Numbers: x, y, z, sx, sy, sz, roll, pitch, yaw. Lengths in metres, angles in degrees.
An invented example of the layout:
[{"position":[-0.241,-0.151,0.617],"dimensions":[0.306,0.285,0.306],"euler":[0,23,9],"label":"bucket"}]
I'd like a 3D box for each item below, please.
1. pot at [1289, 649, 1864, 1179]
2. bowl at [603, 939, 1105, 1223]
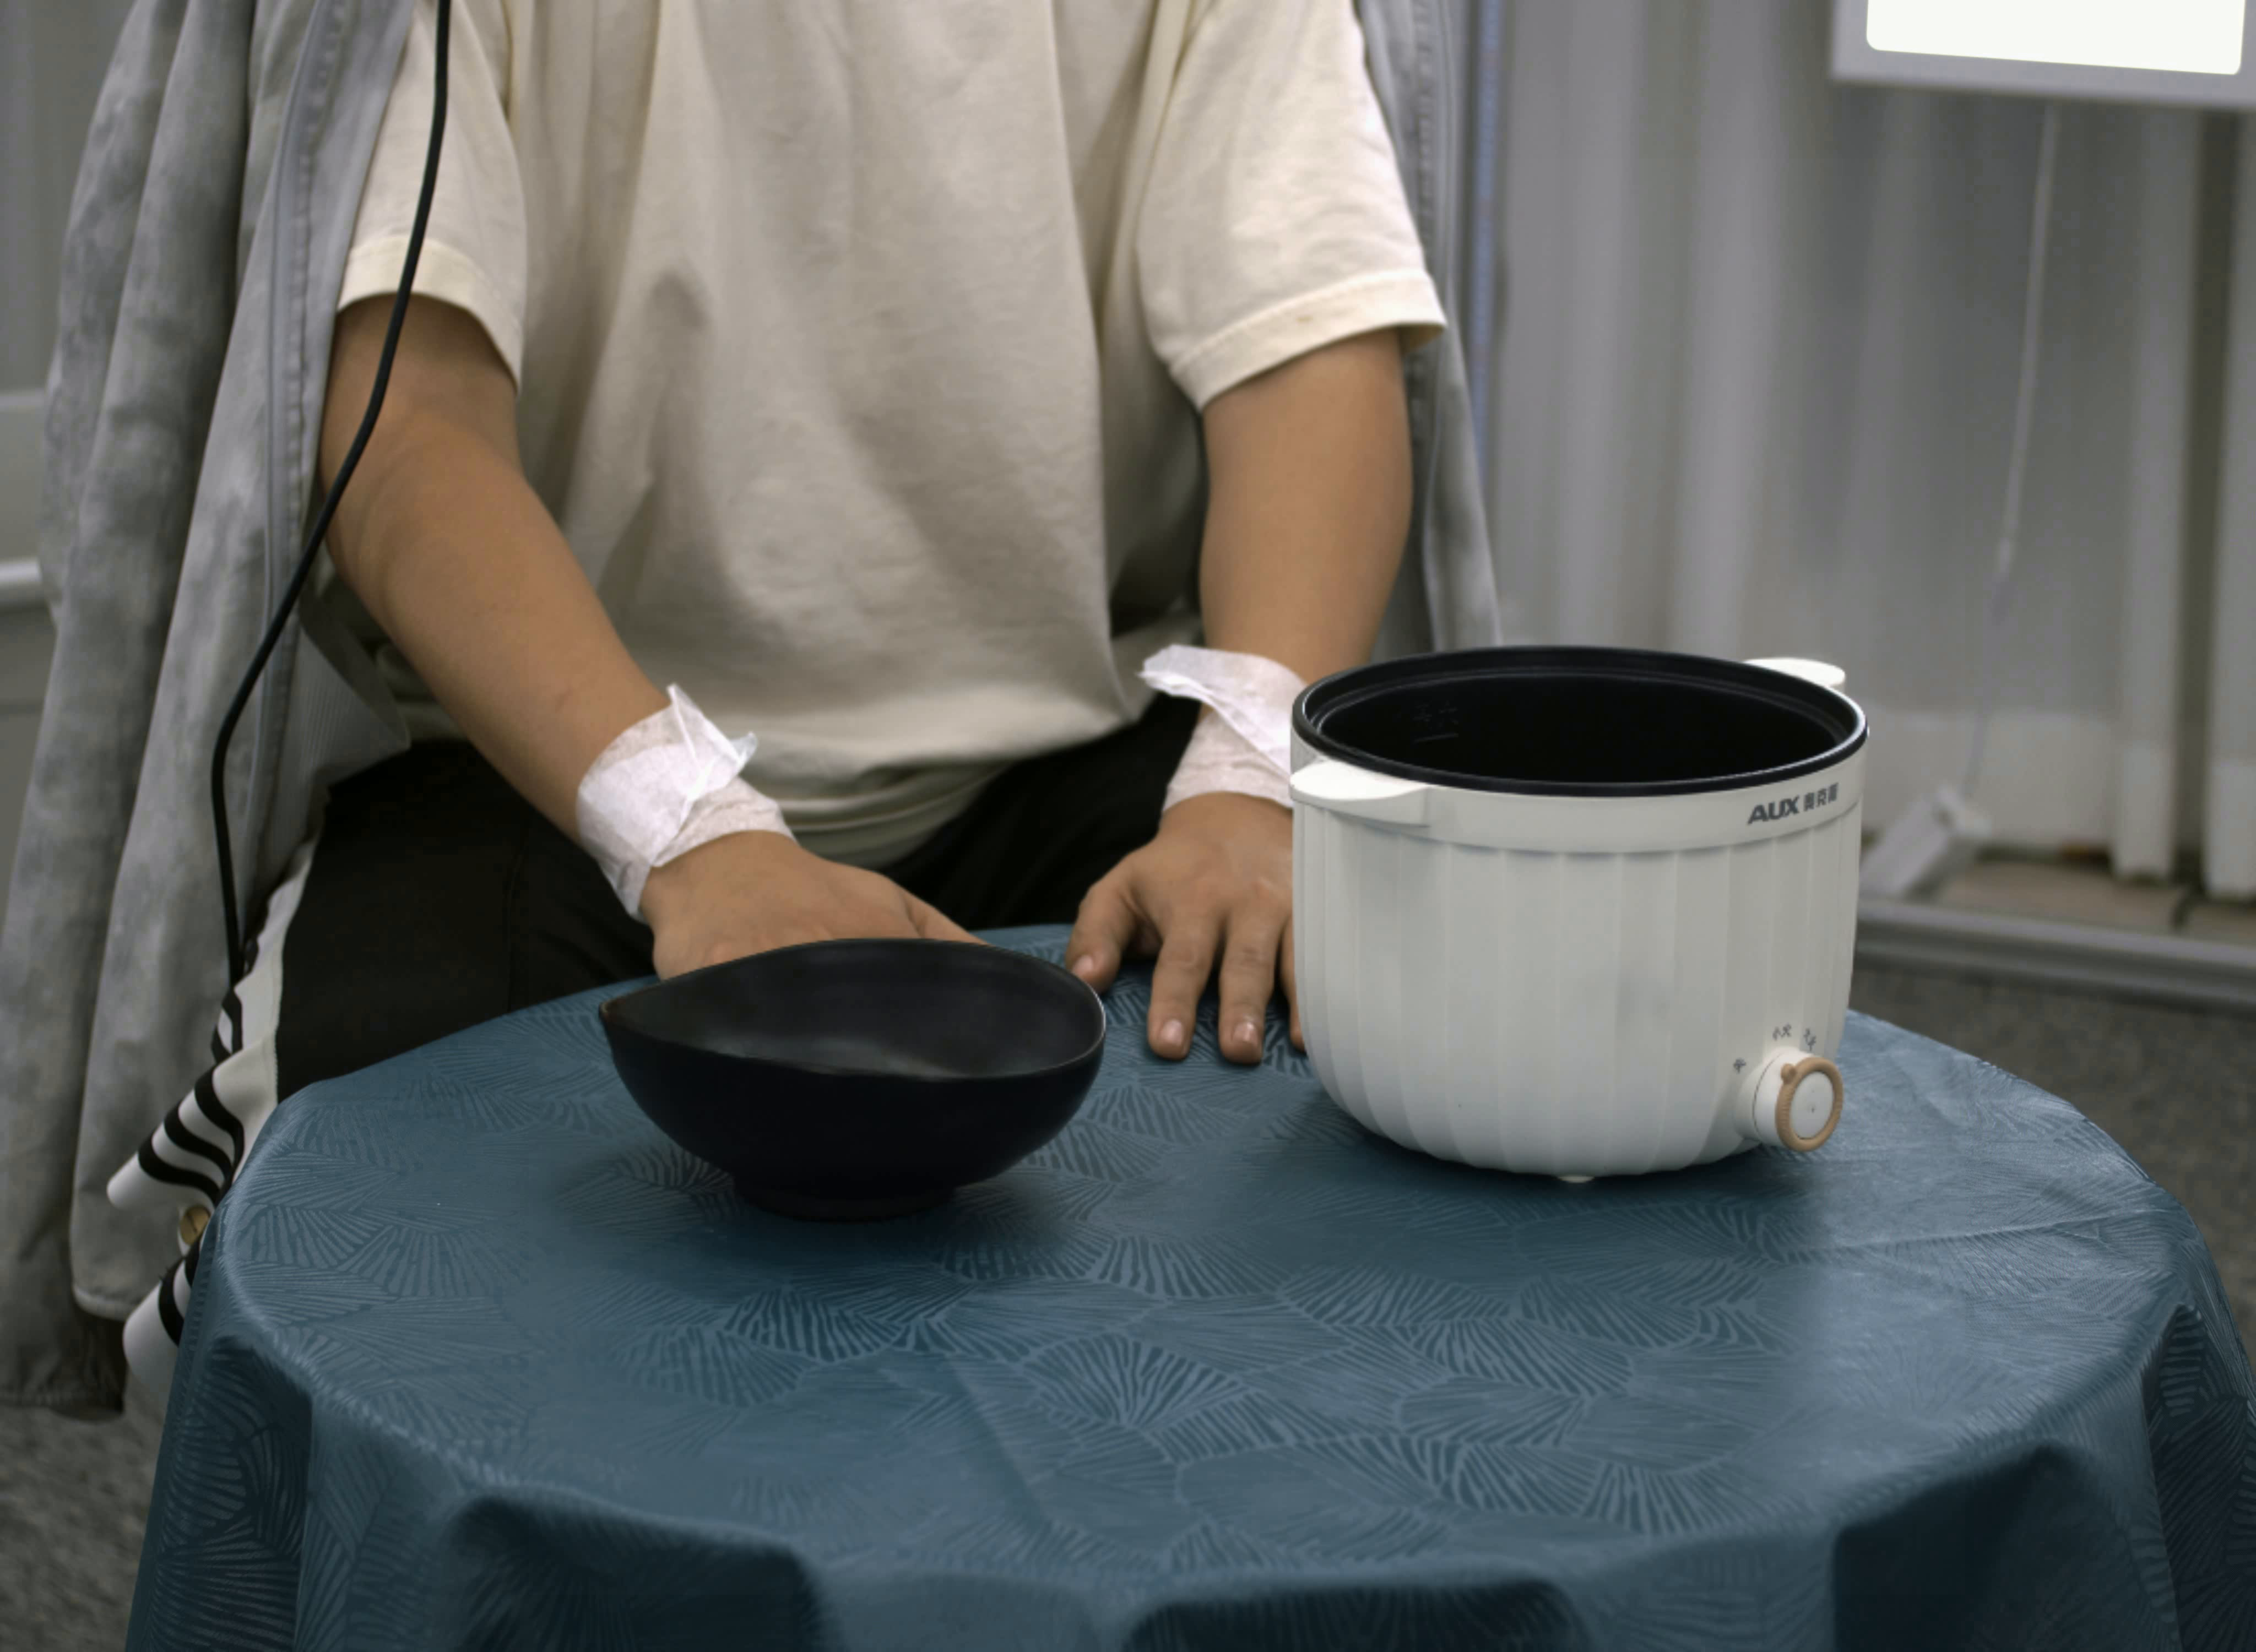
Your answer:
[{"position":[0.146,0.029,1.674],"dimensions":[0.241,0.144,0.188],"euler":[-15,19,-42],"label":"pot"},{"position":[-0.086,0.082,1.614],"dimensions":[0.168,0.067,0.138],"euler":[10,17,34],"label":"bowl"}]
